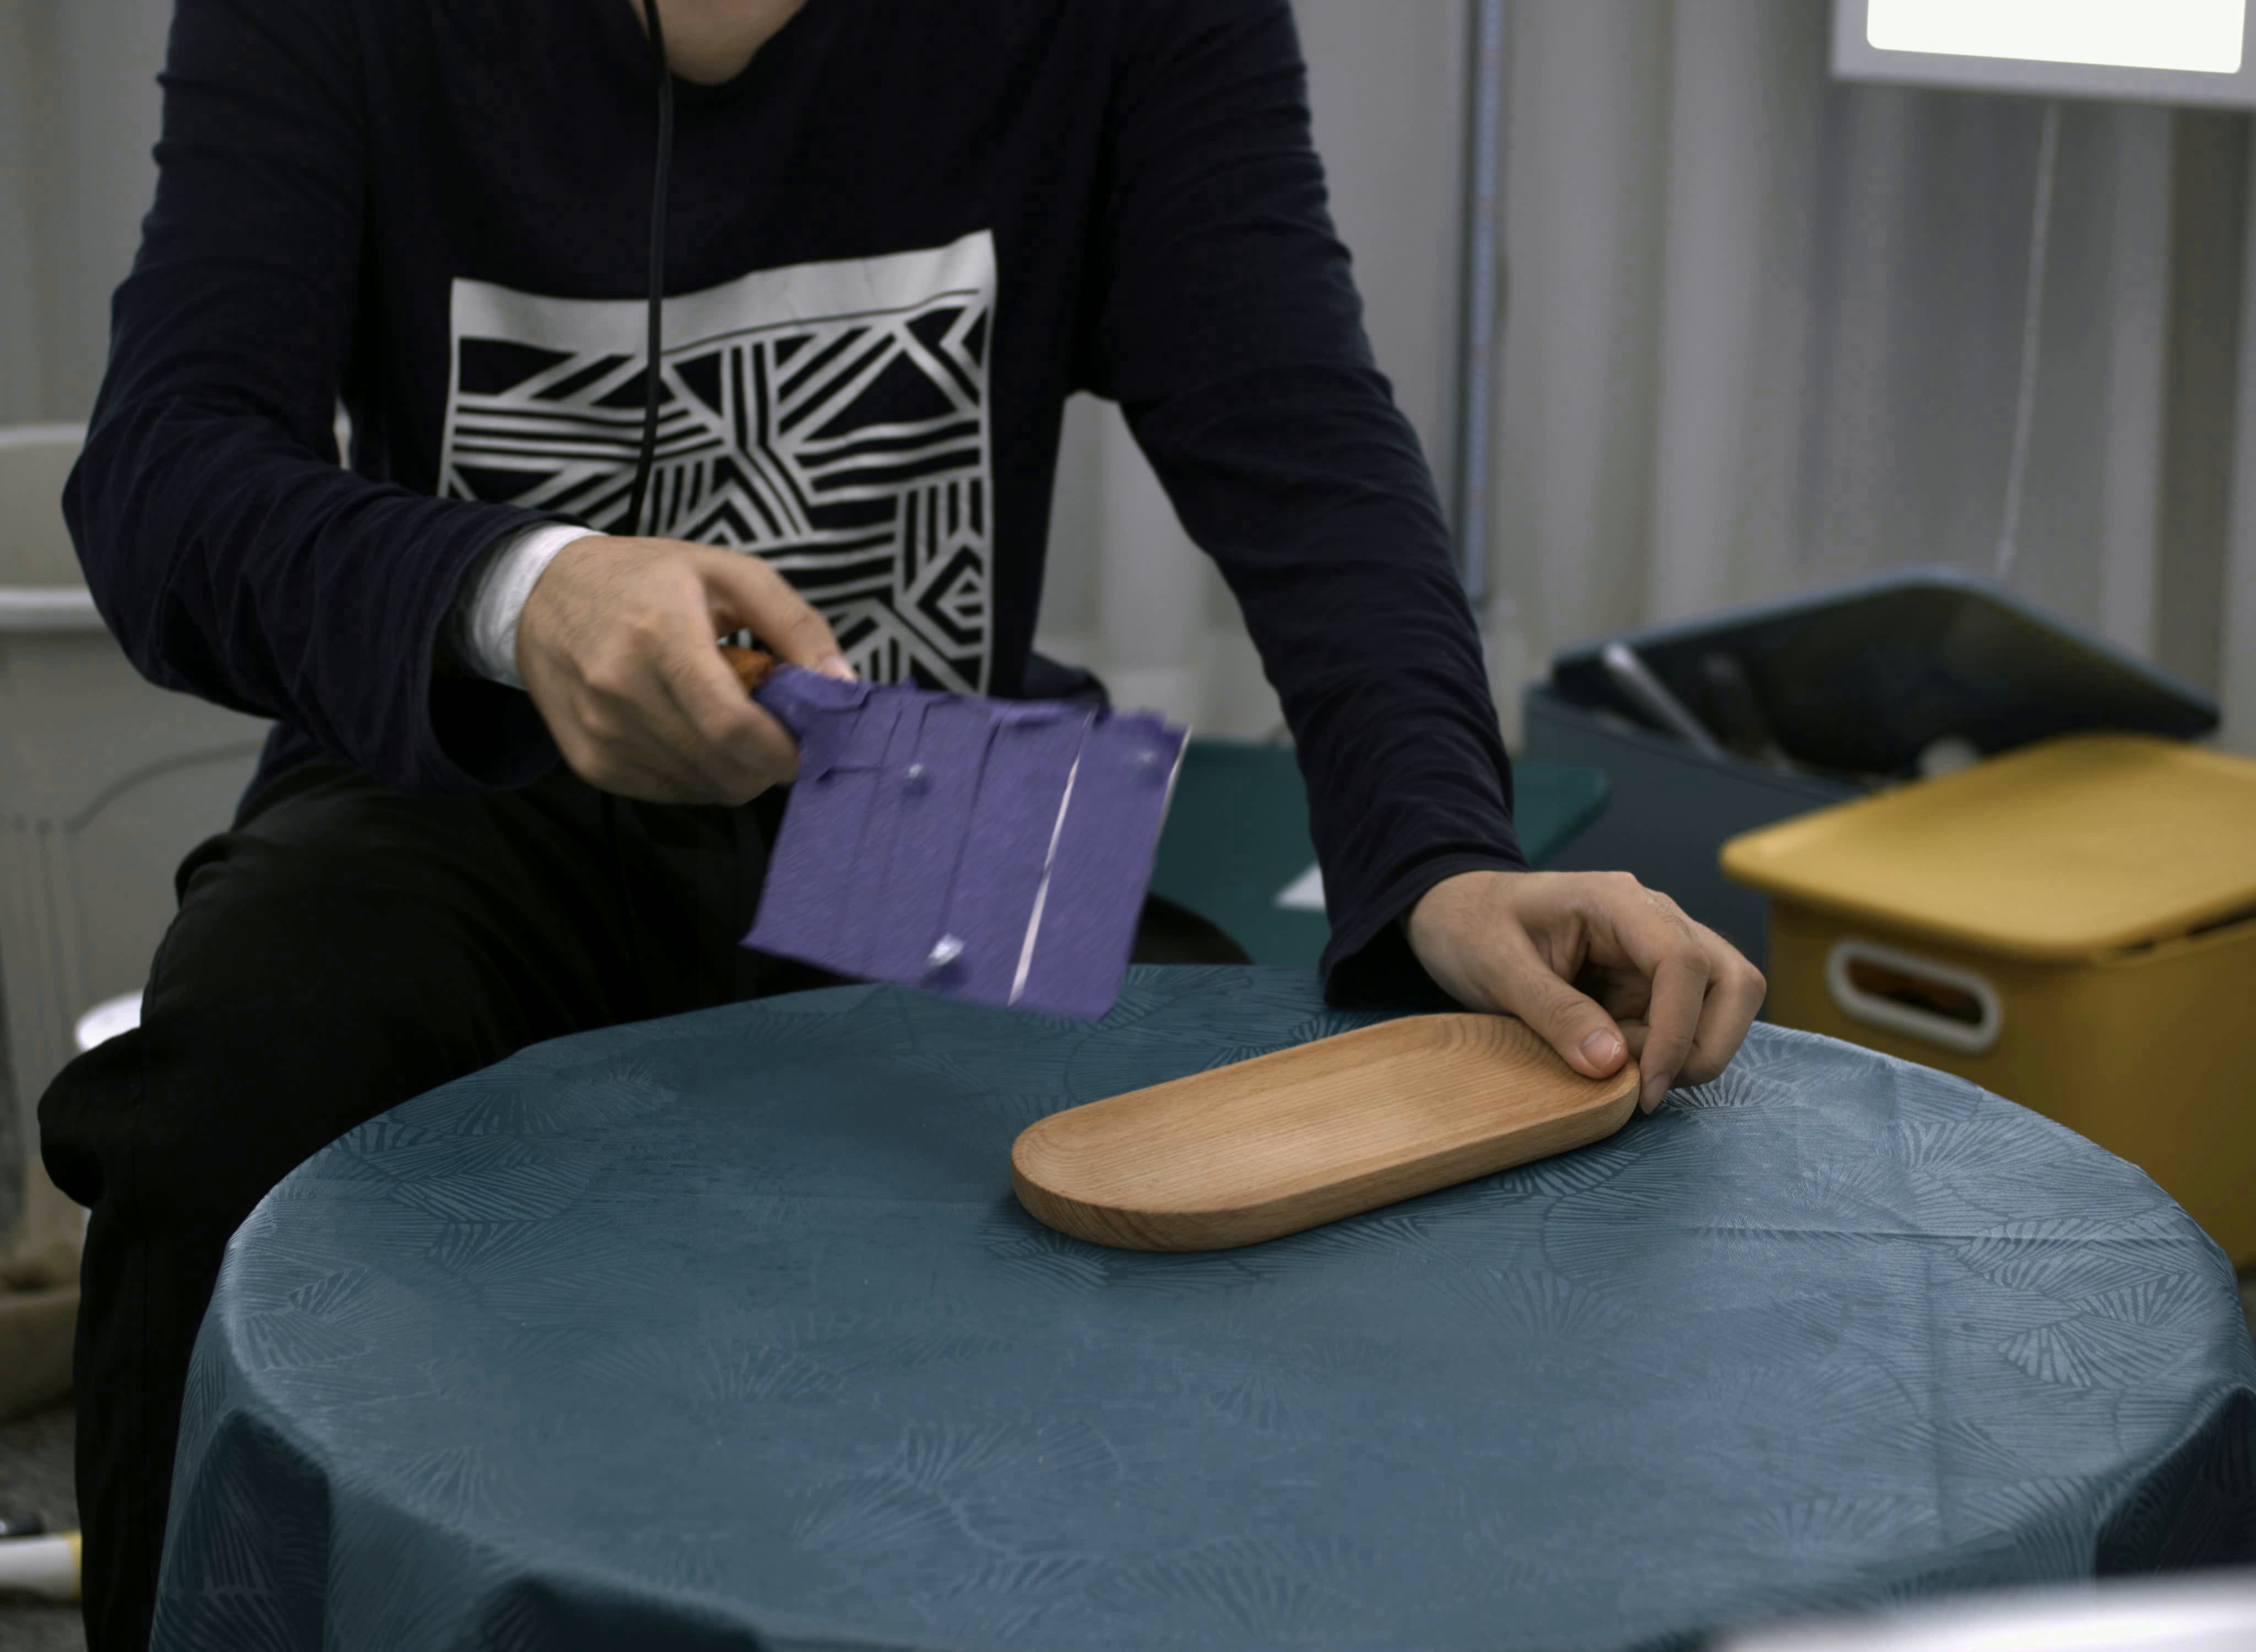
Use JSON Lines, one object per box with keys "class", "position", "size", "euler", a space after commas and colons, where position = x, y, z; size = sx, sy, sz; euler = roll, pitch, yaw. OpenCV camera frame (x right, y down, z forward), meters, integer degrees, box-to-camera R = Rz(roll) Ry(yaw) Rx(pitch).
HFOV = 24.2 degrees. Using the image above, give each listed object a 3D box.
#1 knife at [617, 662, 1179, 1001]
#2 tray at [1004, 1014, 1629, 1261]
{"class": "knife", "position": [-0.085, 0.000, 1.608], "size": [0.032, 0.104, 0.312], "euler": [21, -7, -31]}
{"class": "tray", "position": [0.061, 0.097, 1.652], "size": [0.232, 0.020, 0.100], "euler": [-16, 23, -39]}
